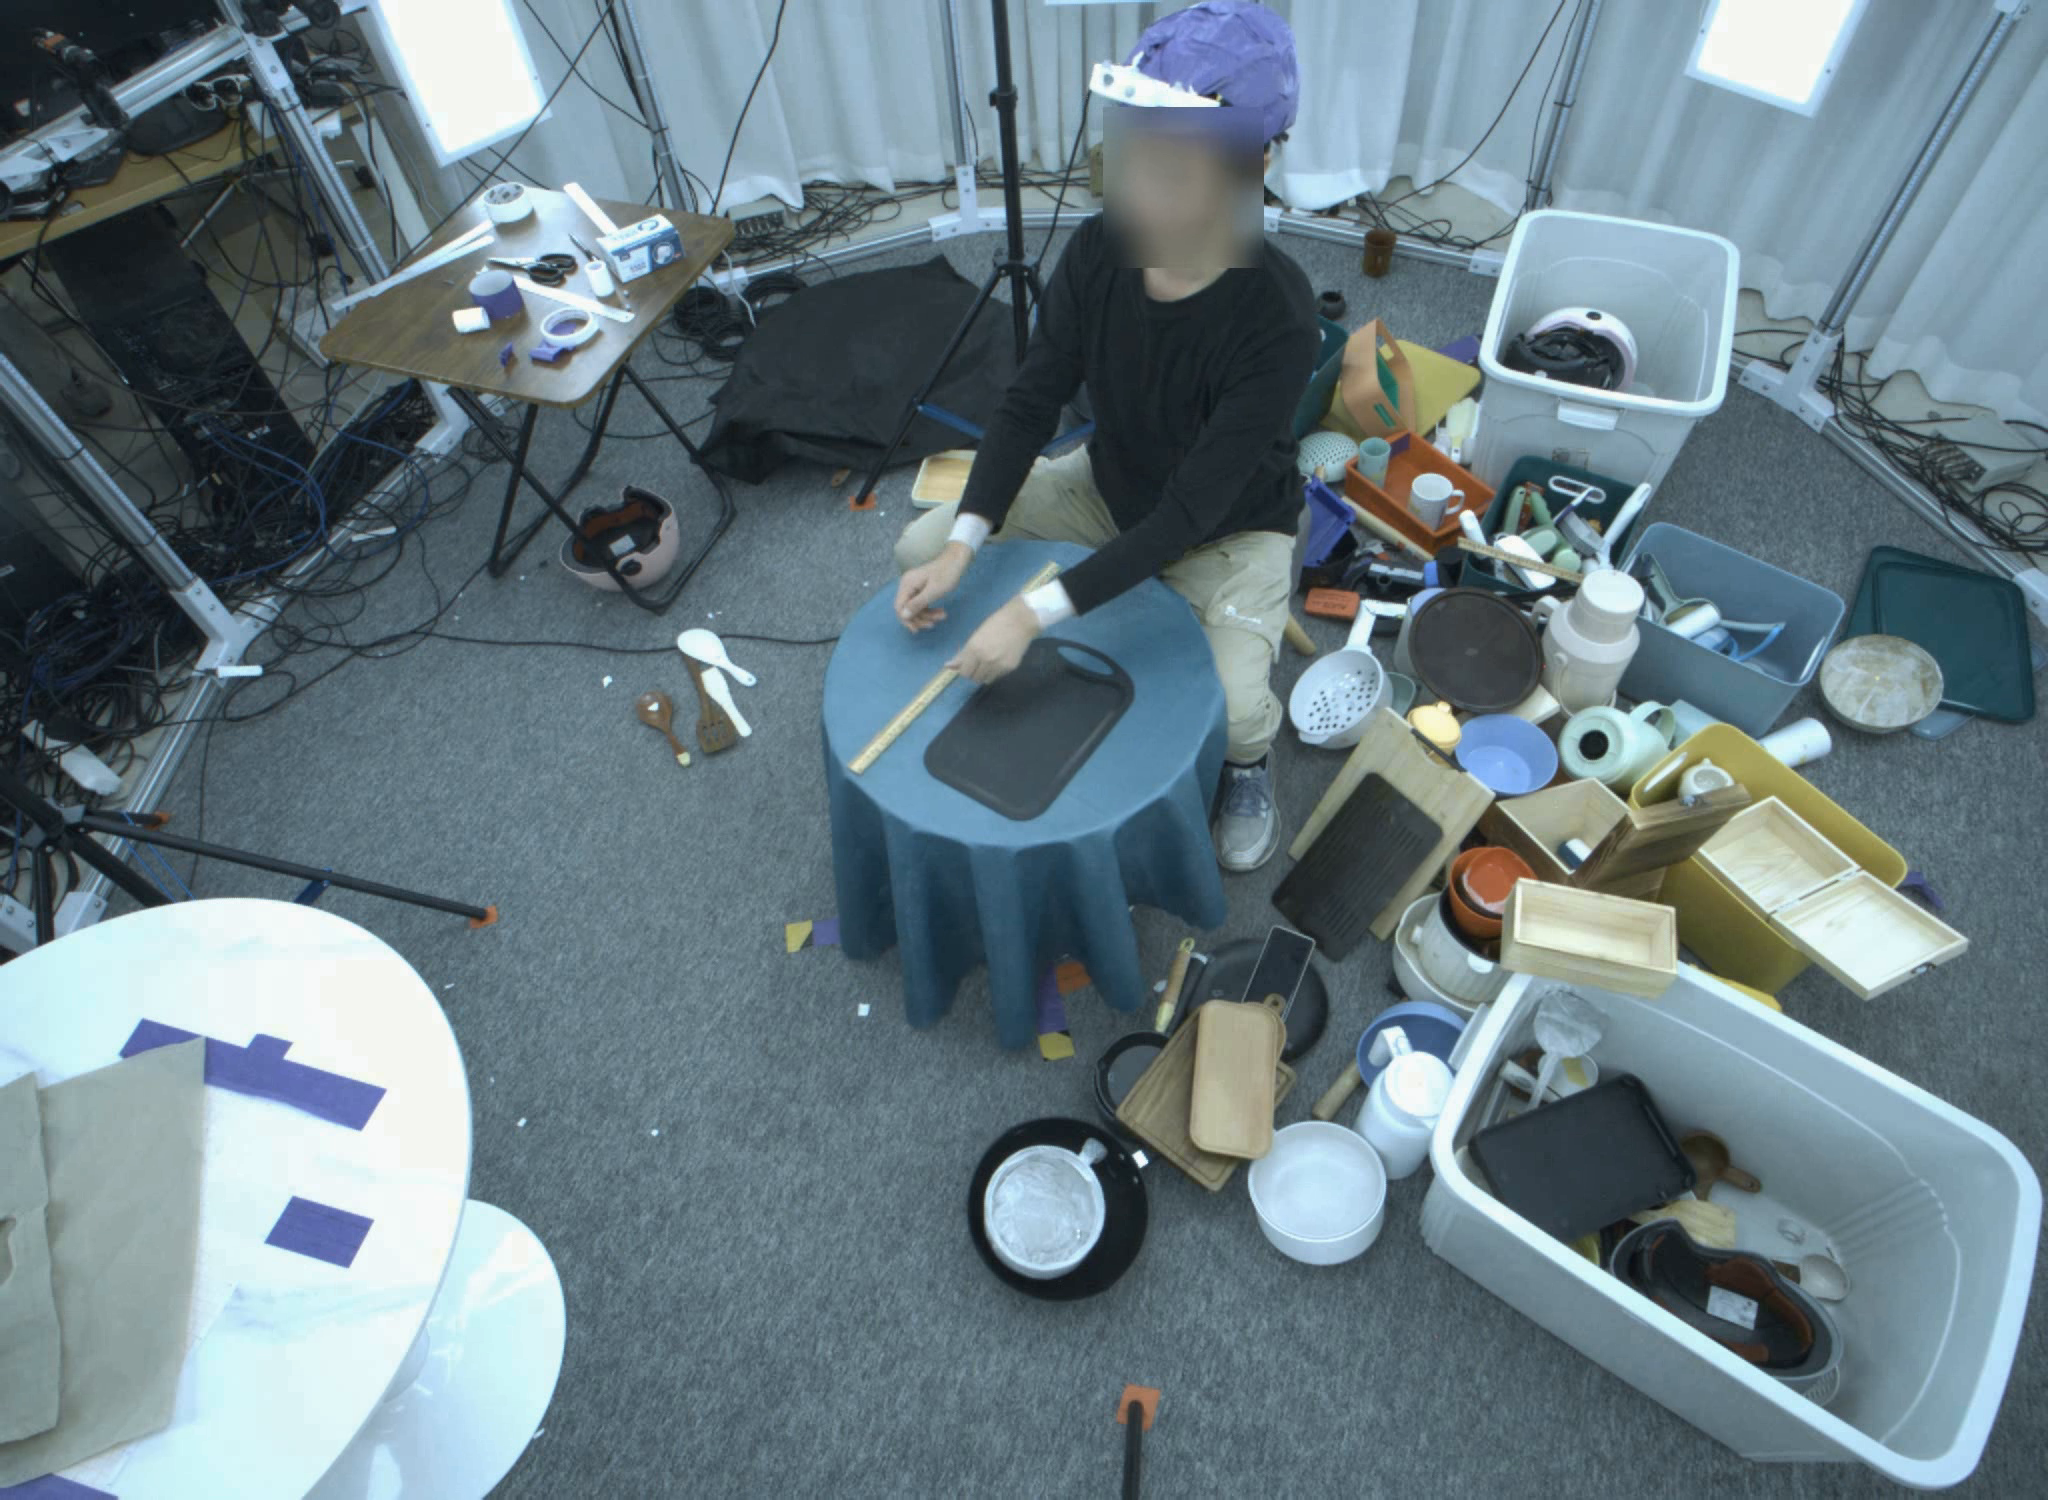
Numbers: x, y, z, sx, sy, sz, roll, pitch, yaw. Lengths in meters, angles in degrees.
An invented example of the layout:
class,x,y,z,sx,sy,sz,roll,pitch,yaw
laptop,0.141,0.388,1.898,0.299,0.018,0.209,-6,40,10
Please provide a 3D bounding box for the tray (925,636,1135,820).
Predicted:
class,x,y,z,sx,sy,sz,roll,pitch,yaw
tray,0.015,-0.046,1.816,0.208,0.010,0.327,29,61,20

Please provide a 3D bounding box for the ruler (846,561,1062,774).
class,x,y,z,sx,sy,sz,roll,pitch,yaw
ruler,-0.098,-0.136,1.884,0.026,0.006,0.503,32,62,20
